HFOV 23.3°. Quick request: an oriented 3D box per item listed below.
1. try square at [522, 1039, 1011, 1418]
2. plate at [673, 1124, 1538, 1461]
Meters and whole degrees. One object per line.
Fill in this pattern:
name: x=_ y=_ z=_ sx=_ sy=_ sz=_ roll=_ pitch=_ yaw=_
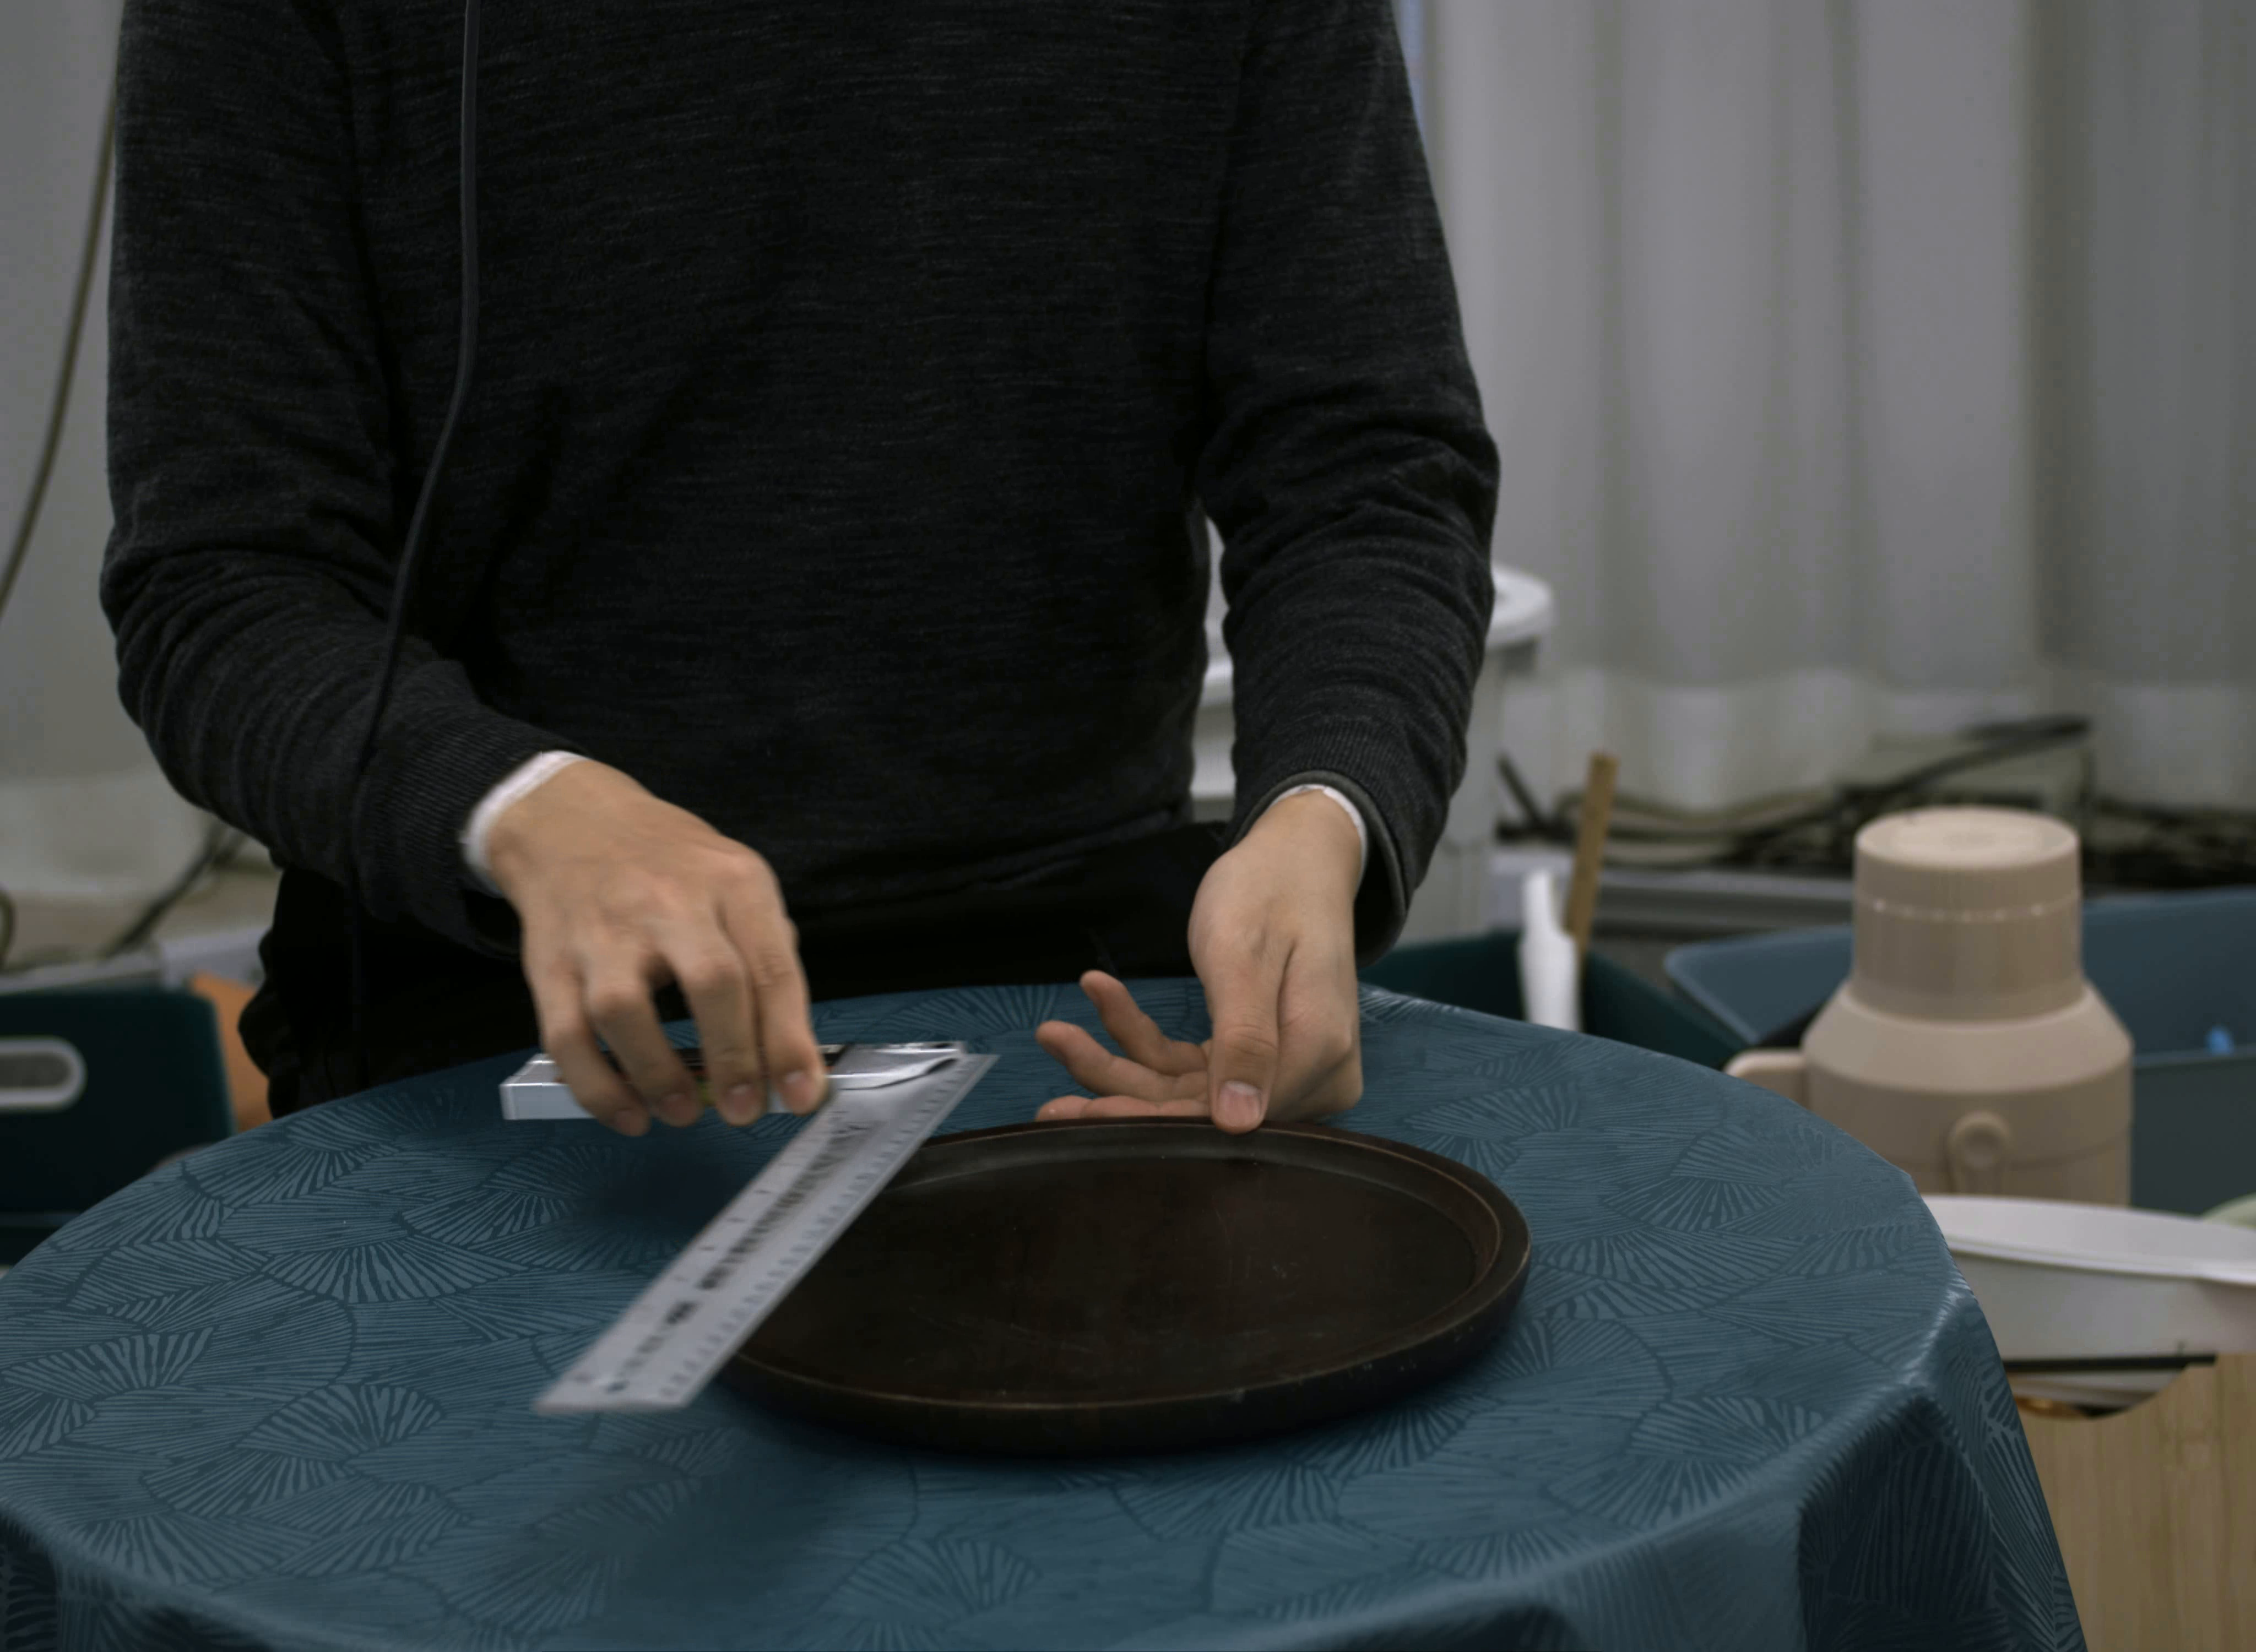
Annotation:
try square: x=-0.144 y=0.114 z=1.569 sx=0.152 sy=0.016 sz=0.314 roll=-3 pitch=14 yaw=15
plate: x=-0.007 y=0.133 z=1.600 sx=0.254 sy=0.029 sz=0.256 roll=-2 pitch=16 yaw=0
